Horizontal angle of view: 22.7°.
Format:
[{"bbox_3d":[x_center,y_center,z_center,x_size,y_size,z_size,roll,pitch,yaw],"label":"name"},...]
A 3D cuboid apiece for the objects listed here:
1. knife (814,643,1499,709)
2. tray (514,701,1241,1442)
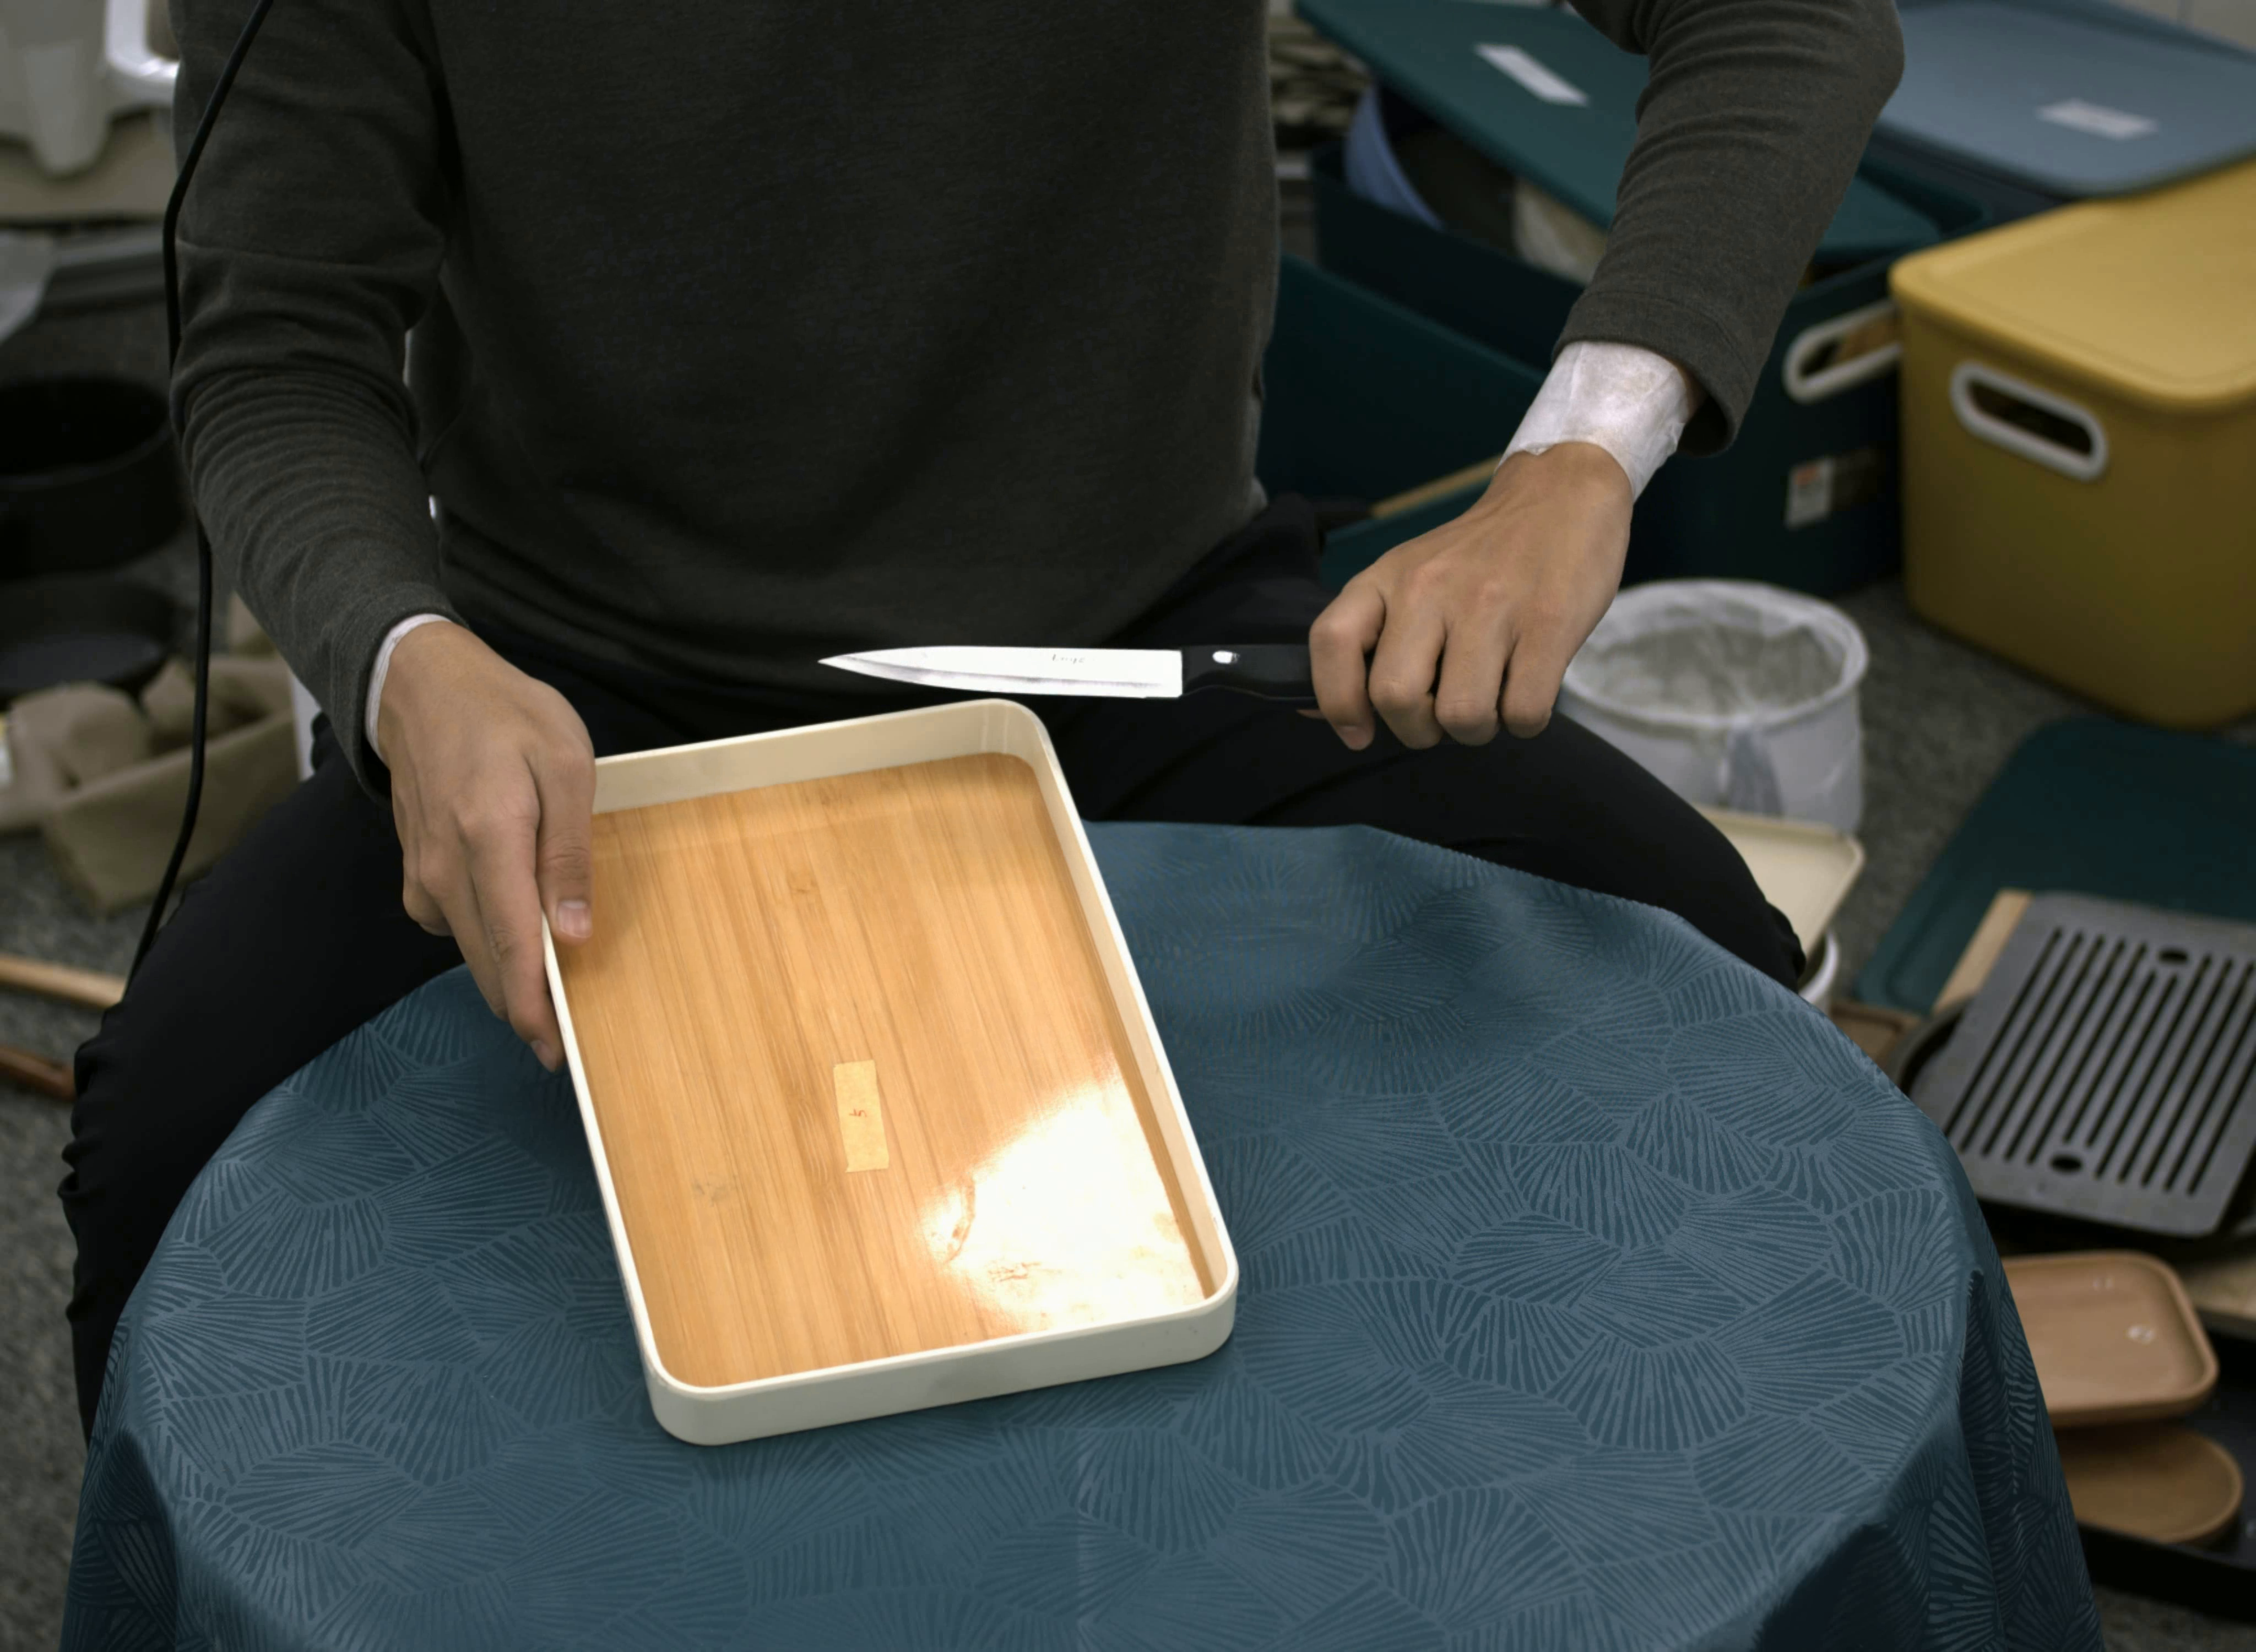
[{"bbox_3d":[0.010,-0.053,1.947,0.237,0.016,0.025,1,44,-2],"label":"knife"},{"bbox_3d":[-0.088,0.074,1.853,0.191,0.027,0.305,-7,42,-12],"label":"tray"}]
